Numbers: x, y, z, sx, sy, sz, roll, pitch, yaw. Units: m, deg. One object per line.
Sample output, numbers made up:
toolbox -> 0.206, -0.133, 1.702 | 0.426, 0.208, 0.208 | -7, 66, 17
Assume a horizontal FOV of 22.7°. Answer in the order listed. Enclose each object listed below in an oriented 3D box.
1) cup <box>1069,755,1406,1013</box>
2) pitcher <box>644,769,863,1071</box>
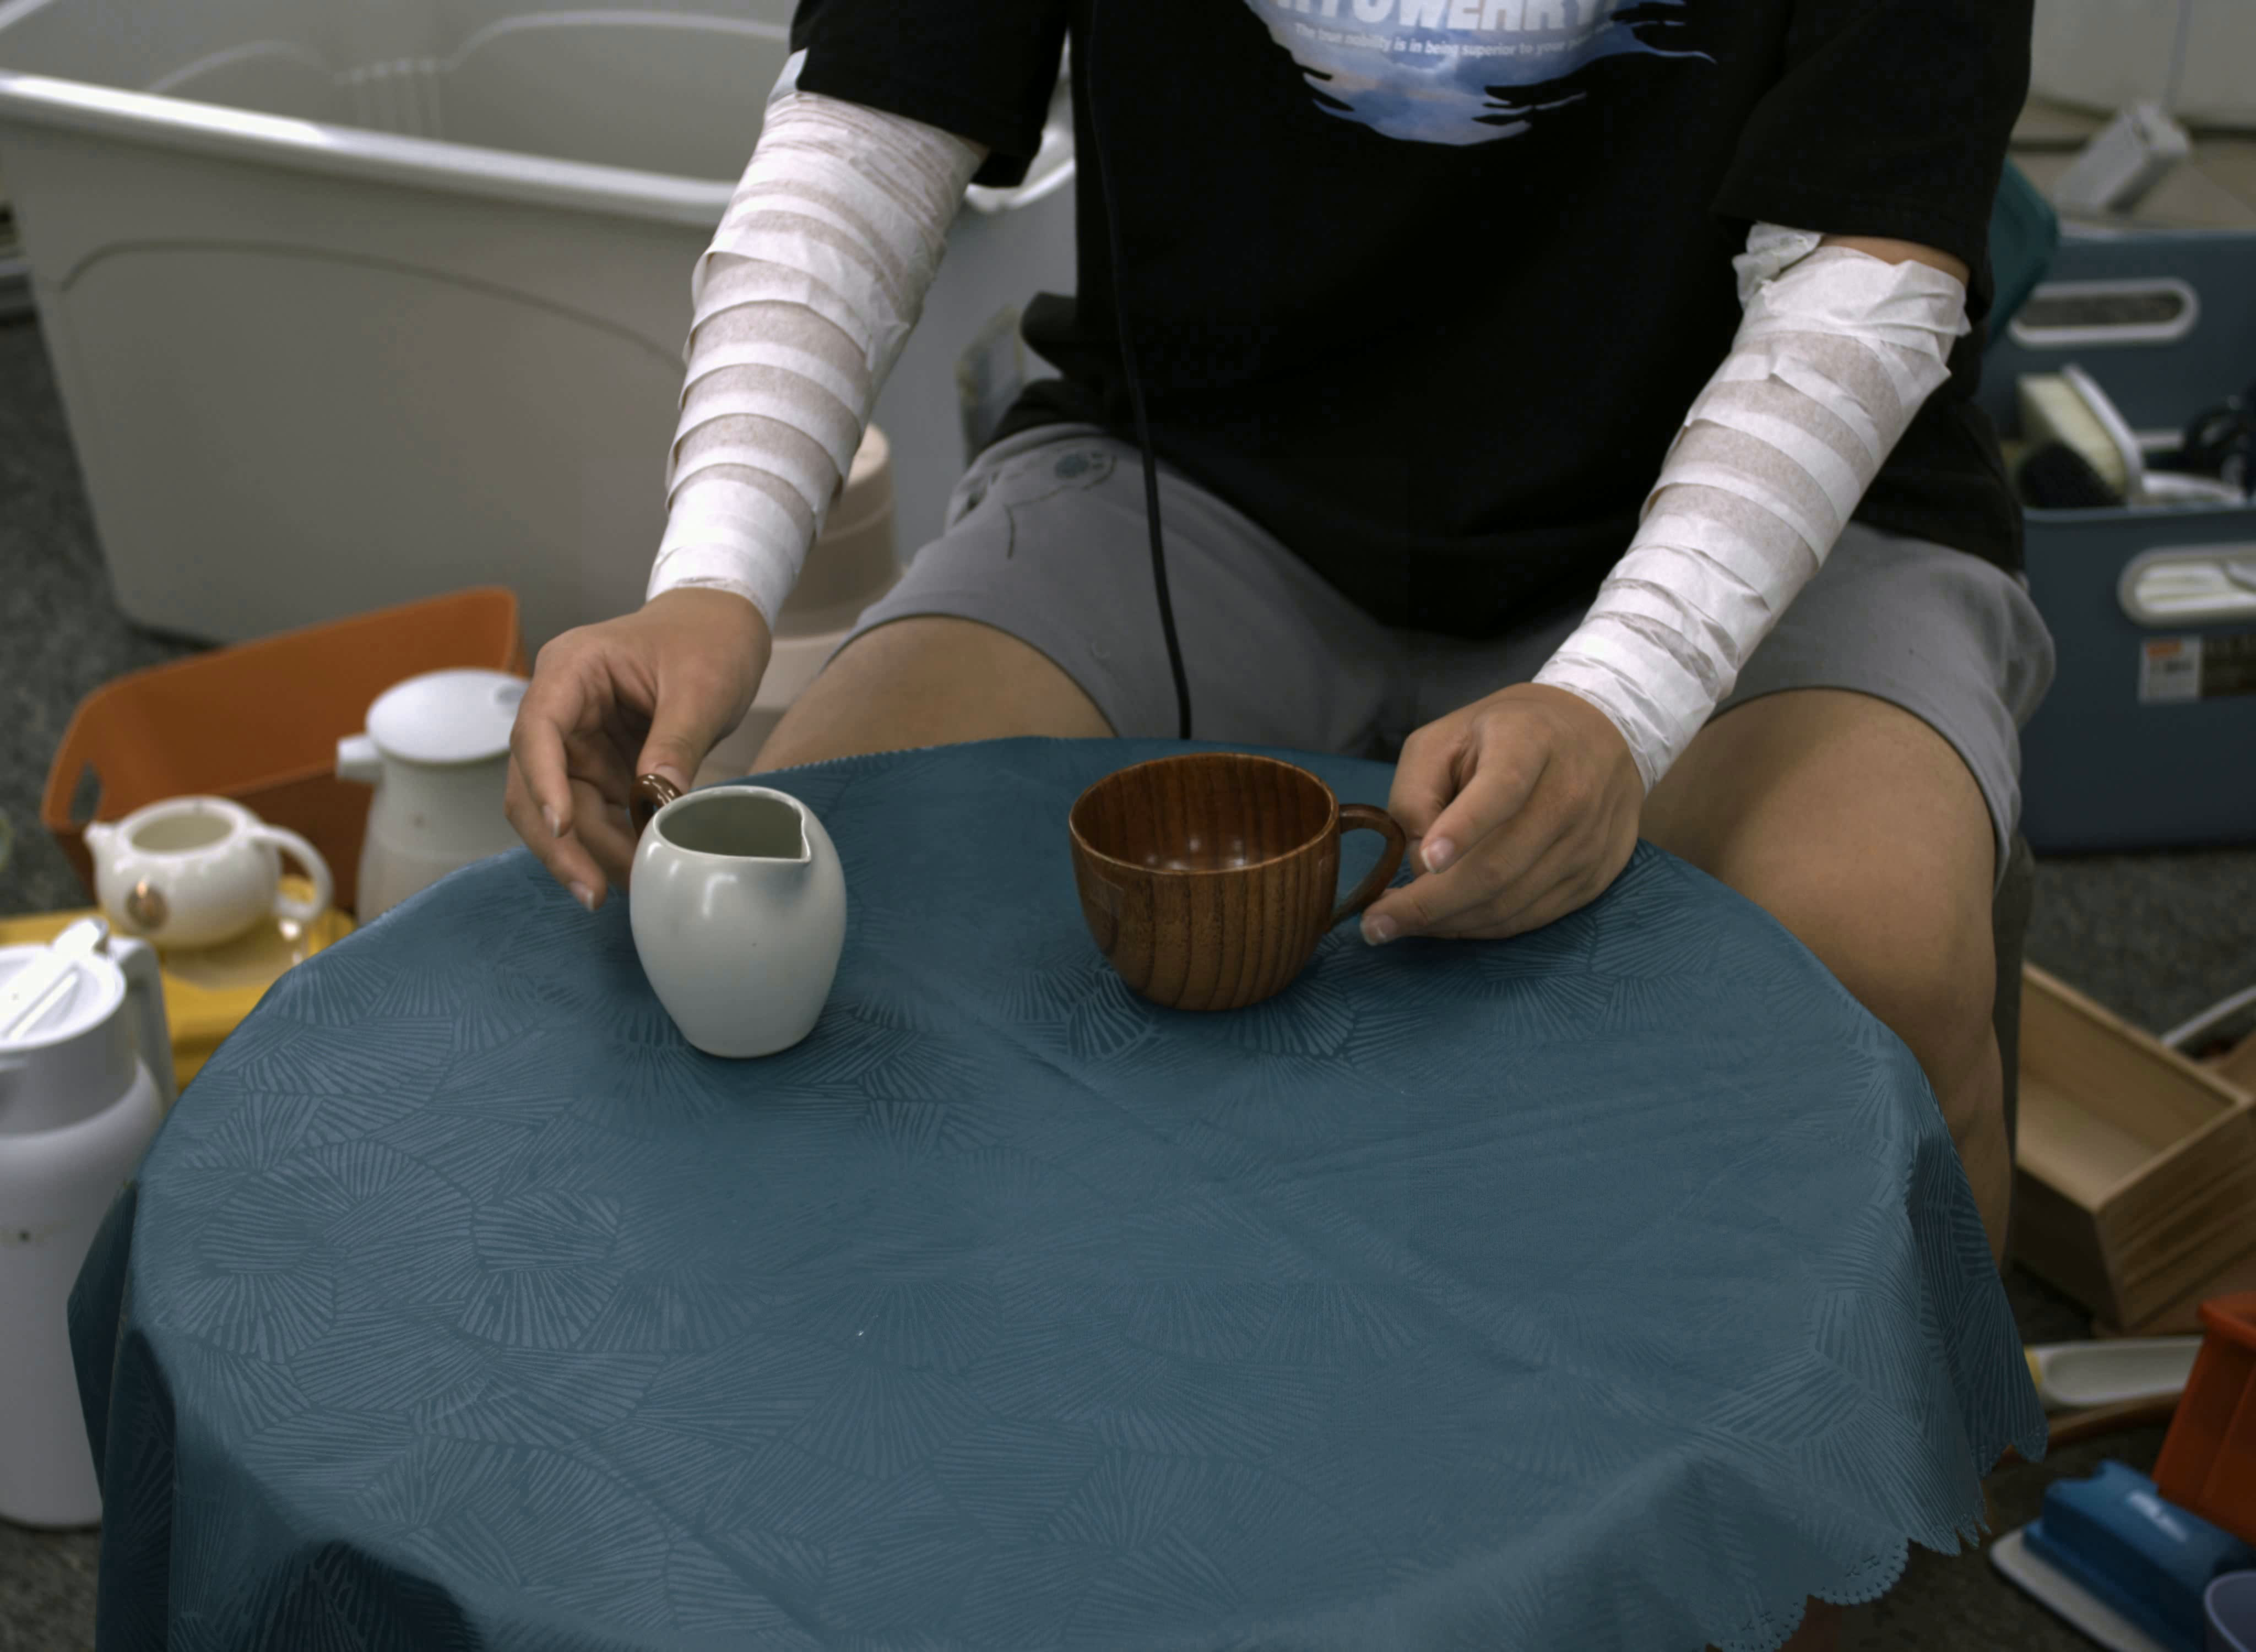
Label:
cup -> 0.040, 0.023, 1.980 | 0.119, 0.067, 0.097 | -4, 23, -6
pitcher -> -0.134, 0.033, 1.951 | 0.076, 0.087, 0.120 | -12, 31, -29
